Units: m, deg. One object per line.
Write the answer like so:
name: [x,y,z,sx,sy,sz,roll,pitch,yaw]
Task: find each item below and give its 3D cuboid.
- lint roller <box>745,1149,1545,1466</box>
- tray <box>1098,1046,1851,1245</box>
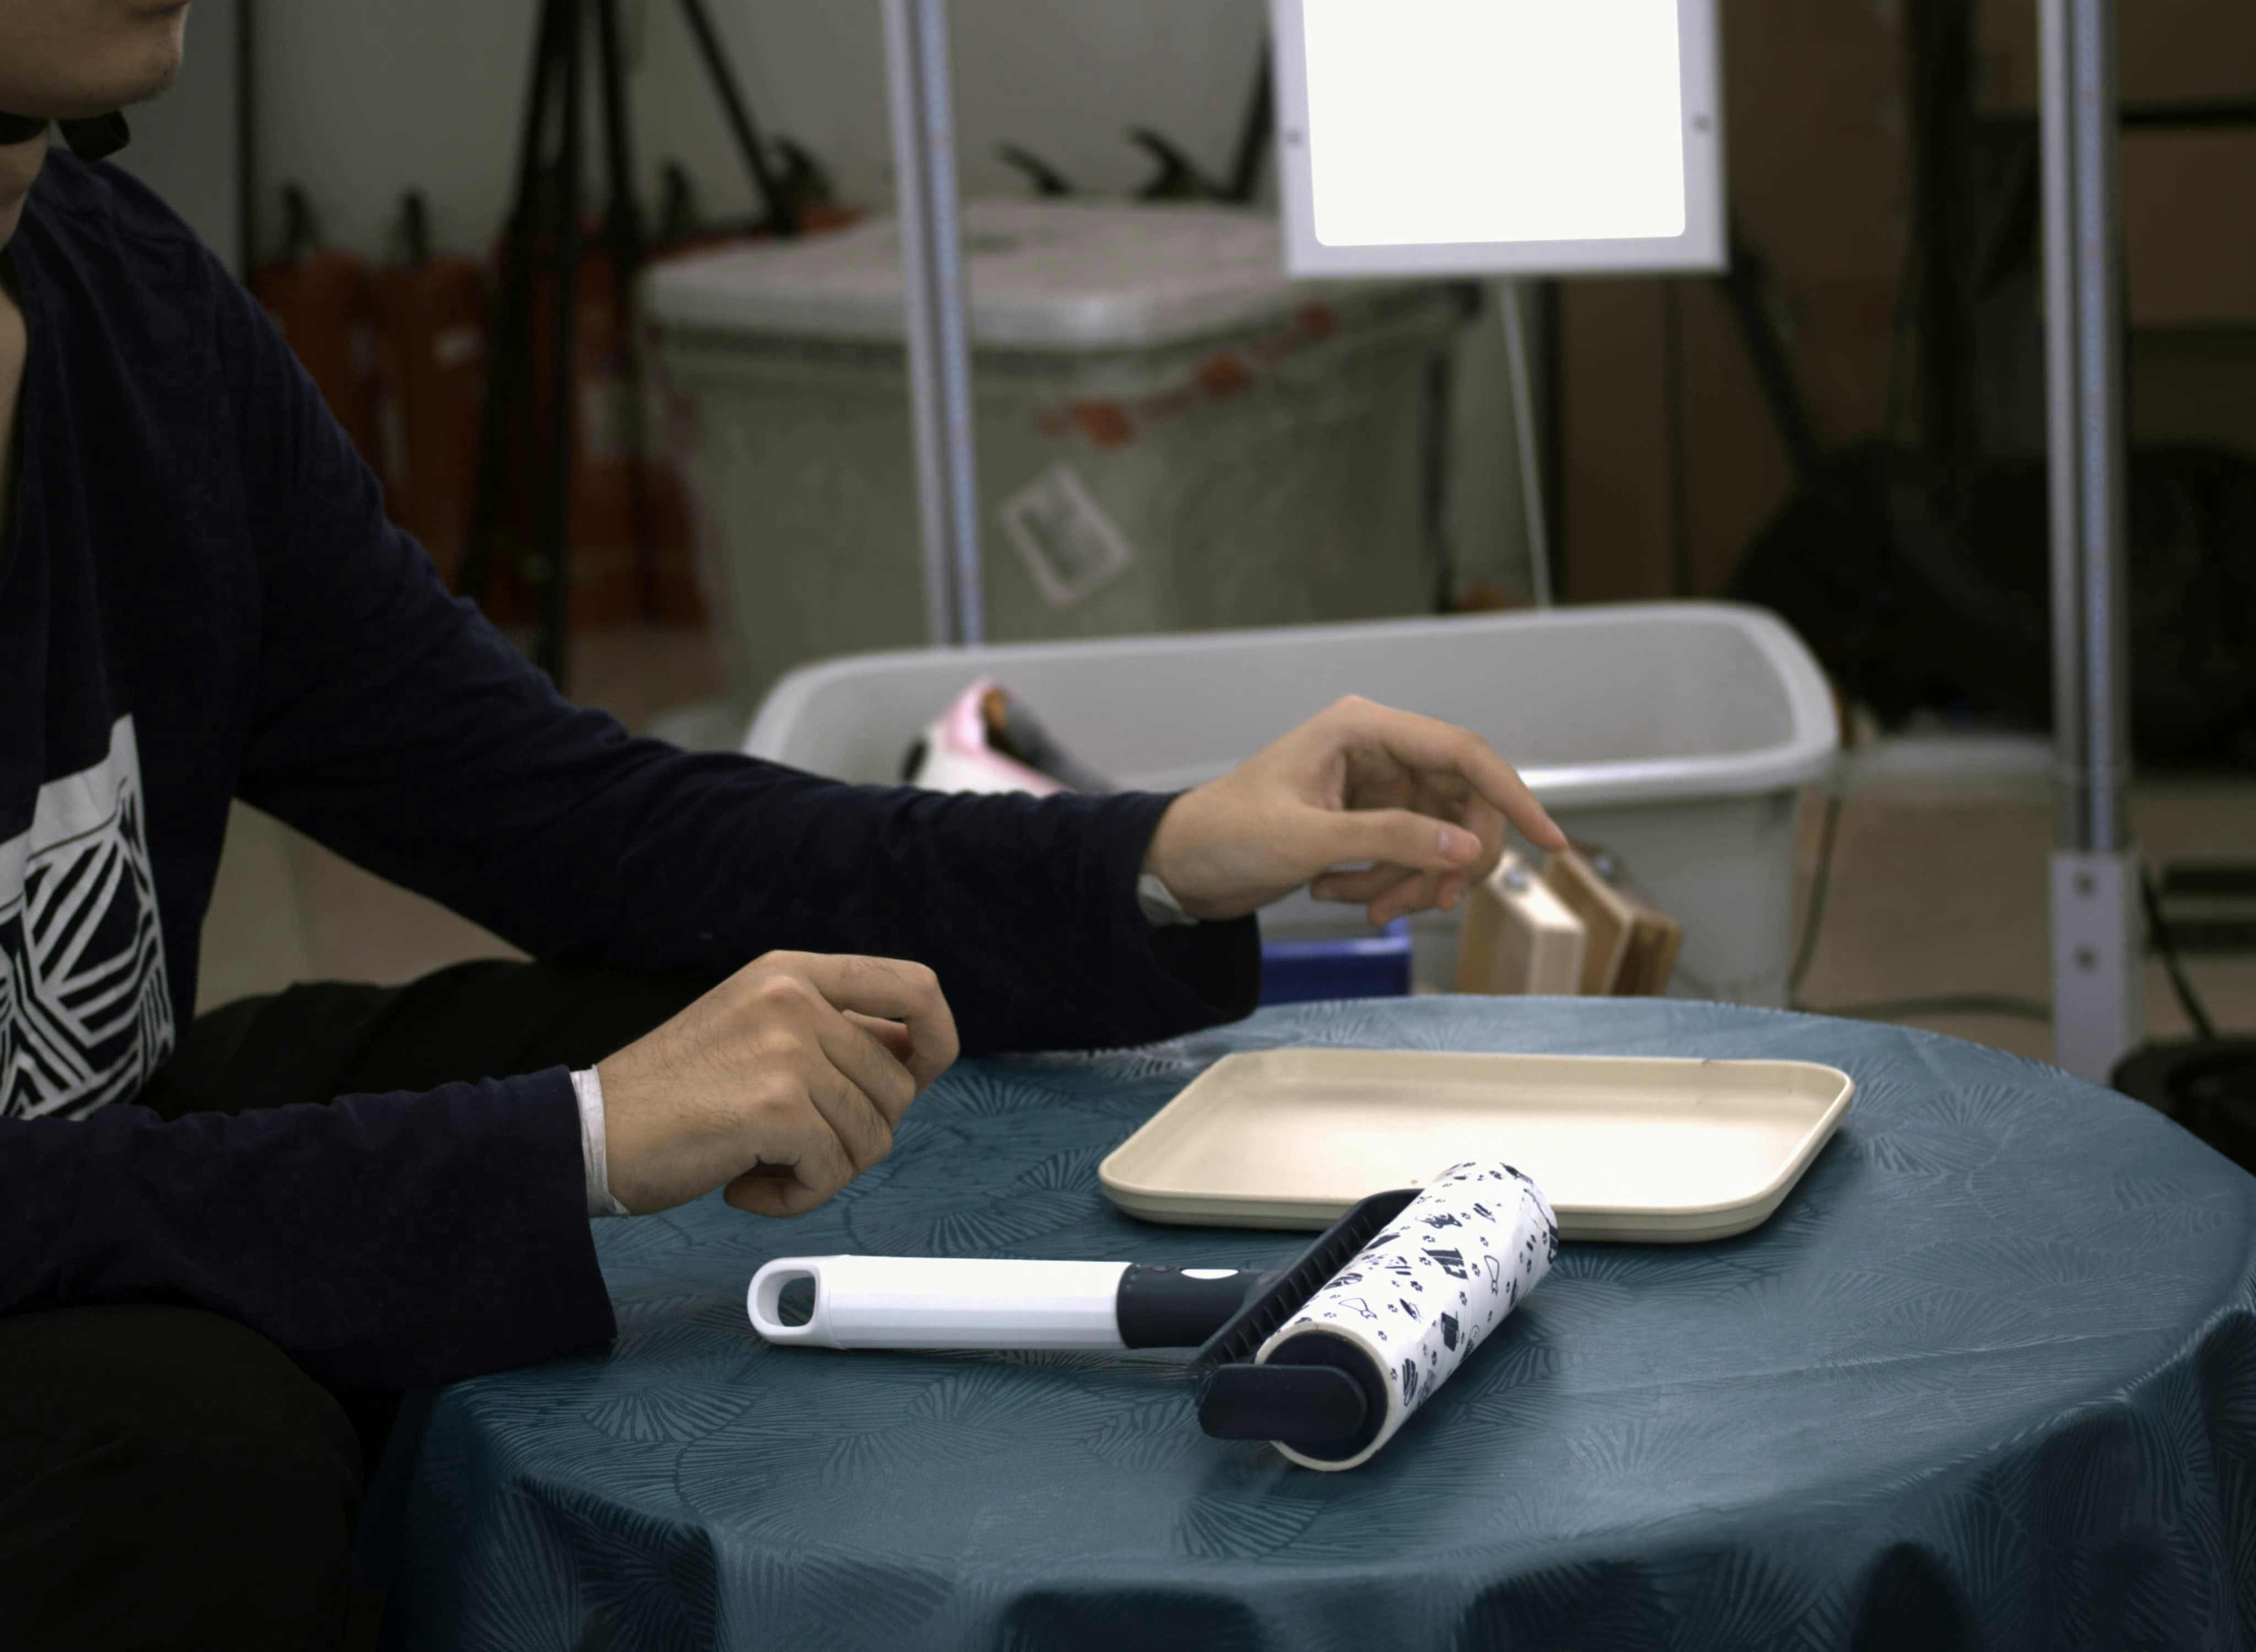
lint roller: [-0.009,0.150,1.724,0.251,0.050,0.173,-2,14,24]
tray: [0.121,0.109,1.890,0.243,0.017,0.168,0,16,22]
